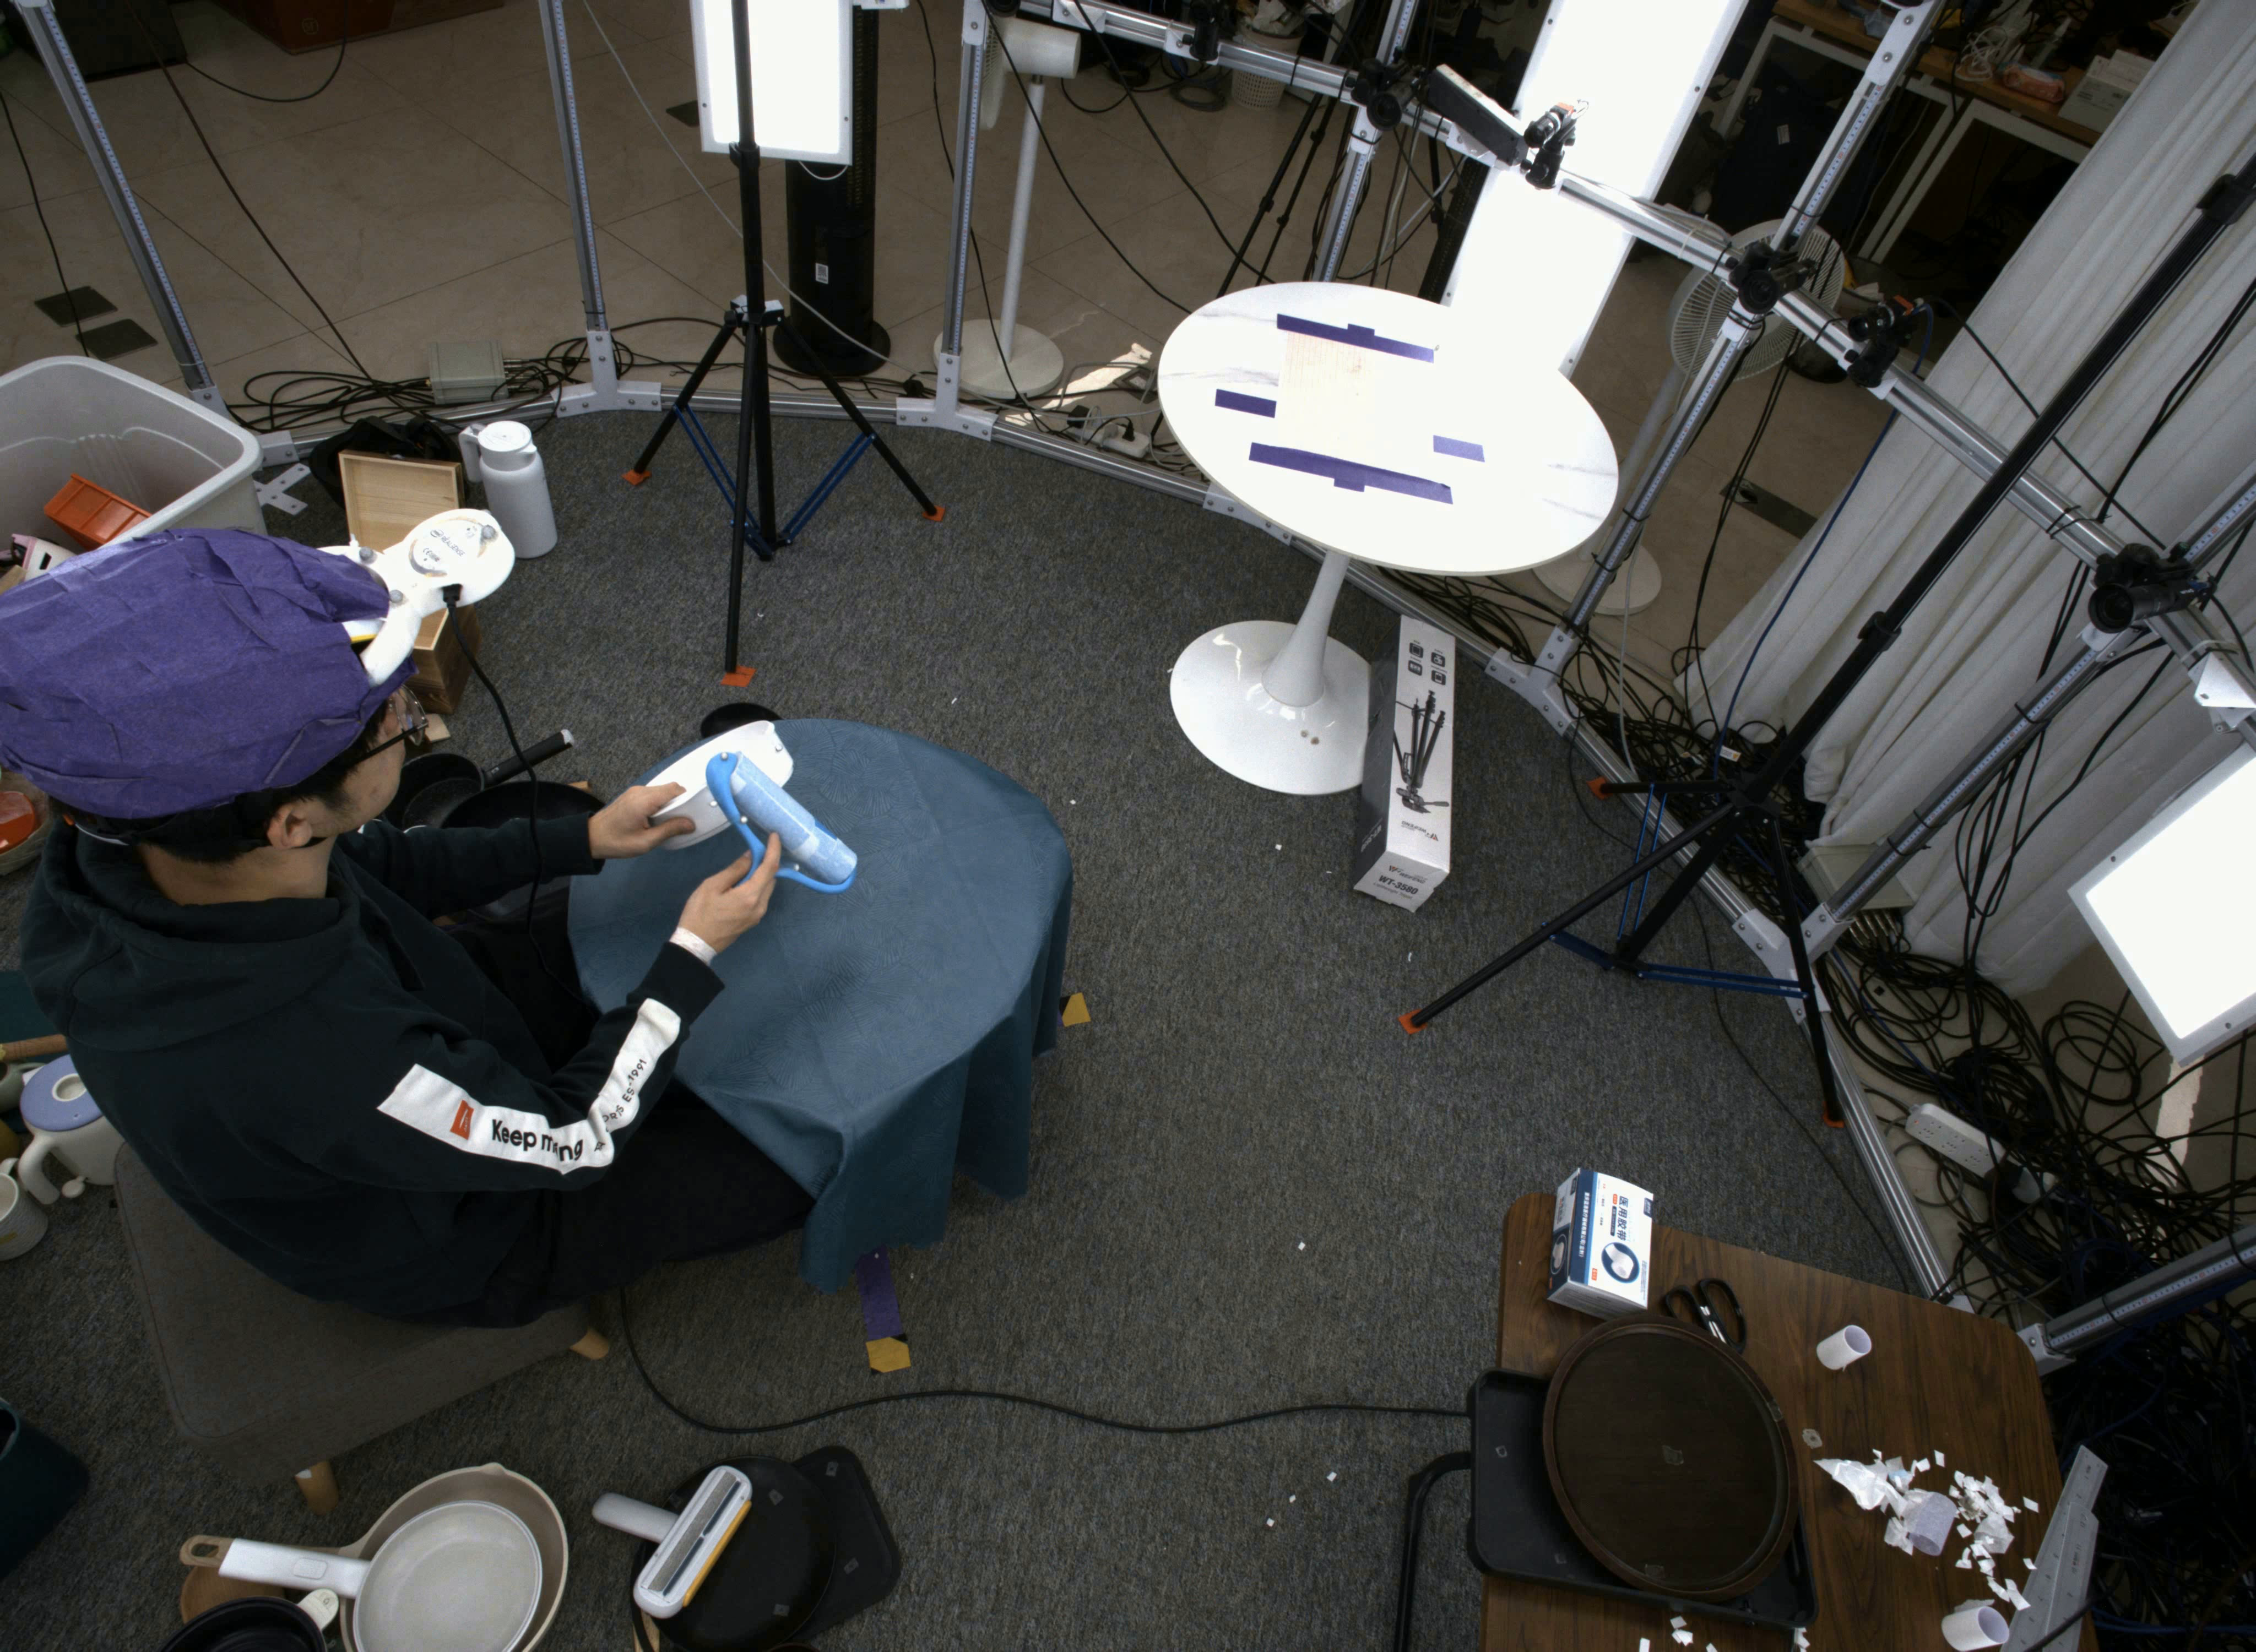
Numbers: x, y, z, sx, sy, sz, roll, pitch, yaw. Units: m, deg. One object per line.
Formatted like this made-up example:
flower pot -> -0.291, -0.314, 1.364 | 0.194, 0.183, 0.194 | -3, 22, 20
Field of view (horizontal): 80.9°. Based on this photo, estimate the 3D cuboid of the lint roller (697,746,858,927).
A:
lint roller -> -0.423, 0.038, 1.475 | 0.065, 0.237, 0.180 | 9, 64, 44

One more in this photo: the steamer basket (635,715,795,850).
steamer basket -> -0.506, -0.053, 1.585 | 0.199, 0.071, 0.226 | -23, 25, 16
